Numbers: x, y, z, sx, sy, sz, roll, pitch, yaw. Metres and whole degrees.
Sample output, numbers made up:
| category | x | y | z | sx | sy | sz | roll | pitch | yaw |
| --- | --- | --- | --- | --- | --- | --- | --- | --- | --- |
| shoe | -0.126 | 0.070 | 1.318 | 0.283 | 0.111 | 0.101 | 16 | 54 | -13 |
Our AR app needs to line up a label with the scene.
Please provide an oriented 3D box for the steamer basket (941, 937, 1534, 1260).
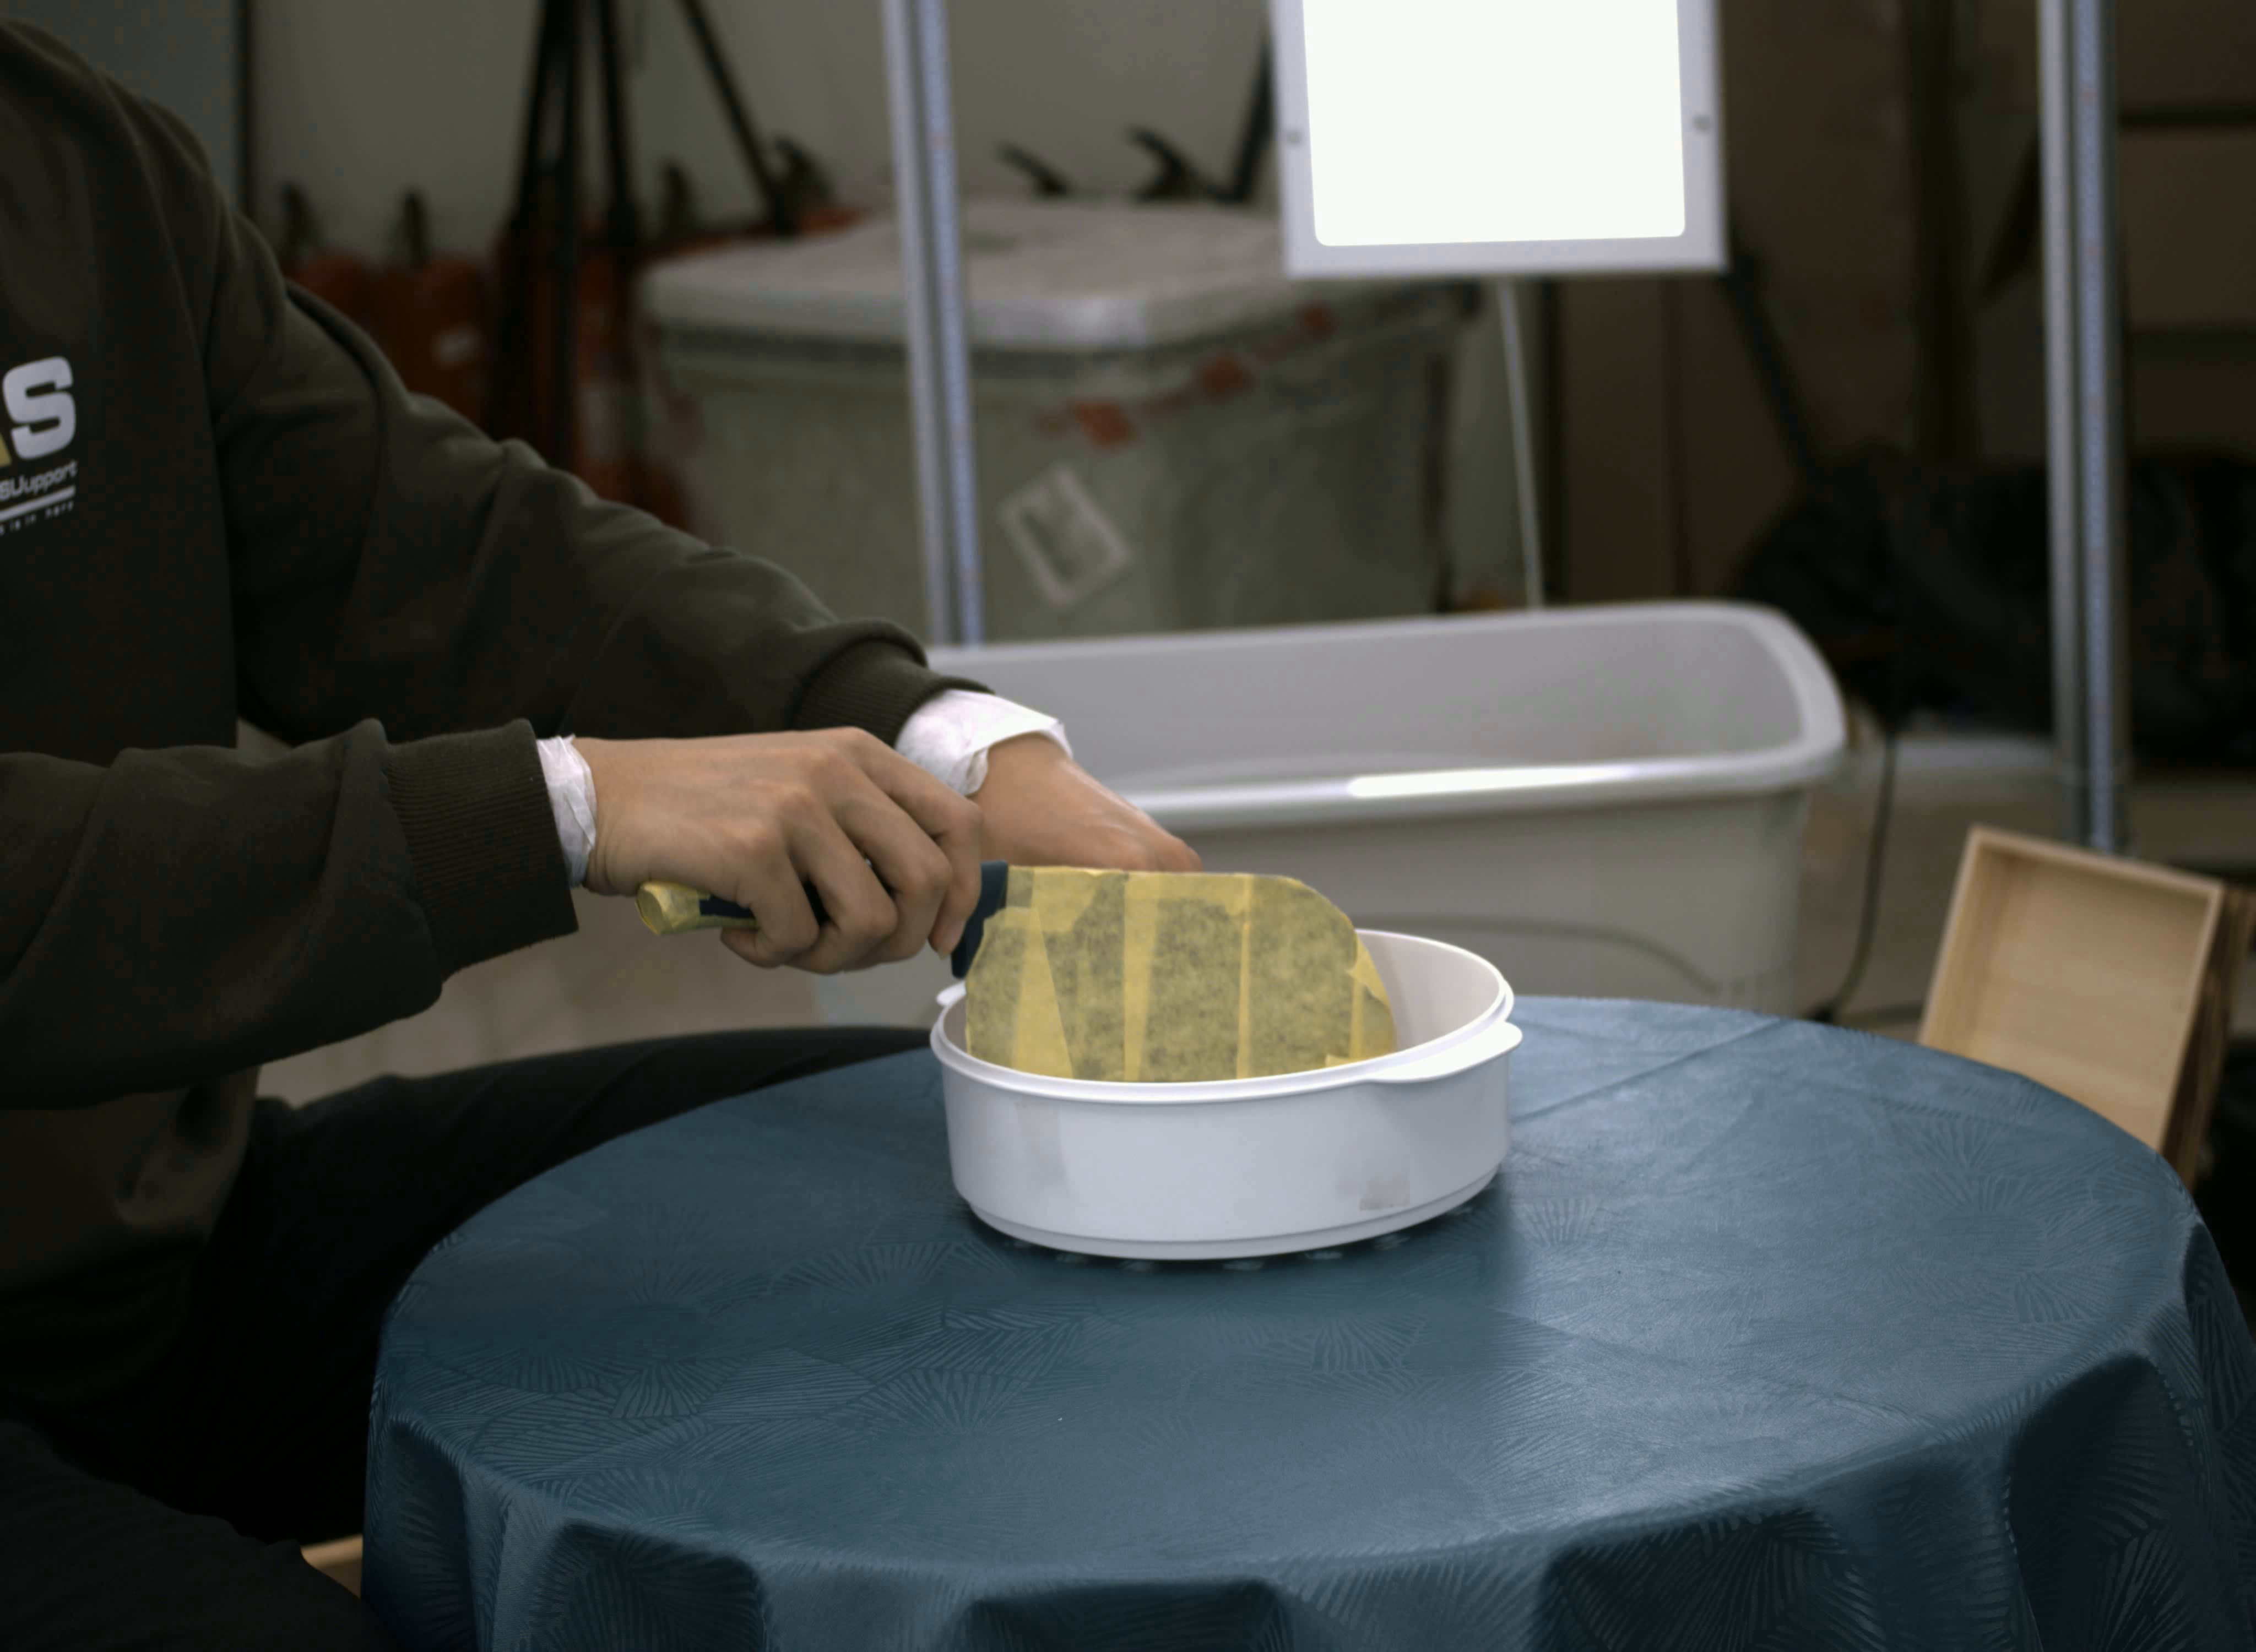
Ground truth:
| category | x | y | z | sx | sy | sz | roll | pitch | yaw |
| --- | --- | --- | --- | --- | --- | --- | --- | --- | --- |
| steamer basket | 0.038 | 0.093 | 1.886 | 0.235 | 0.069 | 0.197 | 6 | 17 | 43 |

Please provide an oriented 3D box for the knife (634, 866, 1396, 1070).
| category | x | y | z | sx | sy | sz | roll | pitch | yaw |
| --- | --- | --- | --- | --- | --- | --- | --- | --- | --- |
| knife | -0.033 | 0.049 | 1.875 | 0.284 | 0.081 | 0.028 | 5 | -5 | -24 |
